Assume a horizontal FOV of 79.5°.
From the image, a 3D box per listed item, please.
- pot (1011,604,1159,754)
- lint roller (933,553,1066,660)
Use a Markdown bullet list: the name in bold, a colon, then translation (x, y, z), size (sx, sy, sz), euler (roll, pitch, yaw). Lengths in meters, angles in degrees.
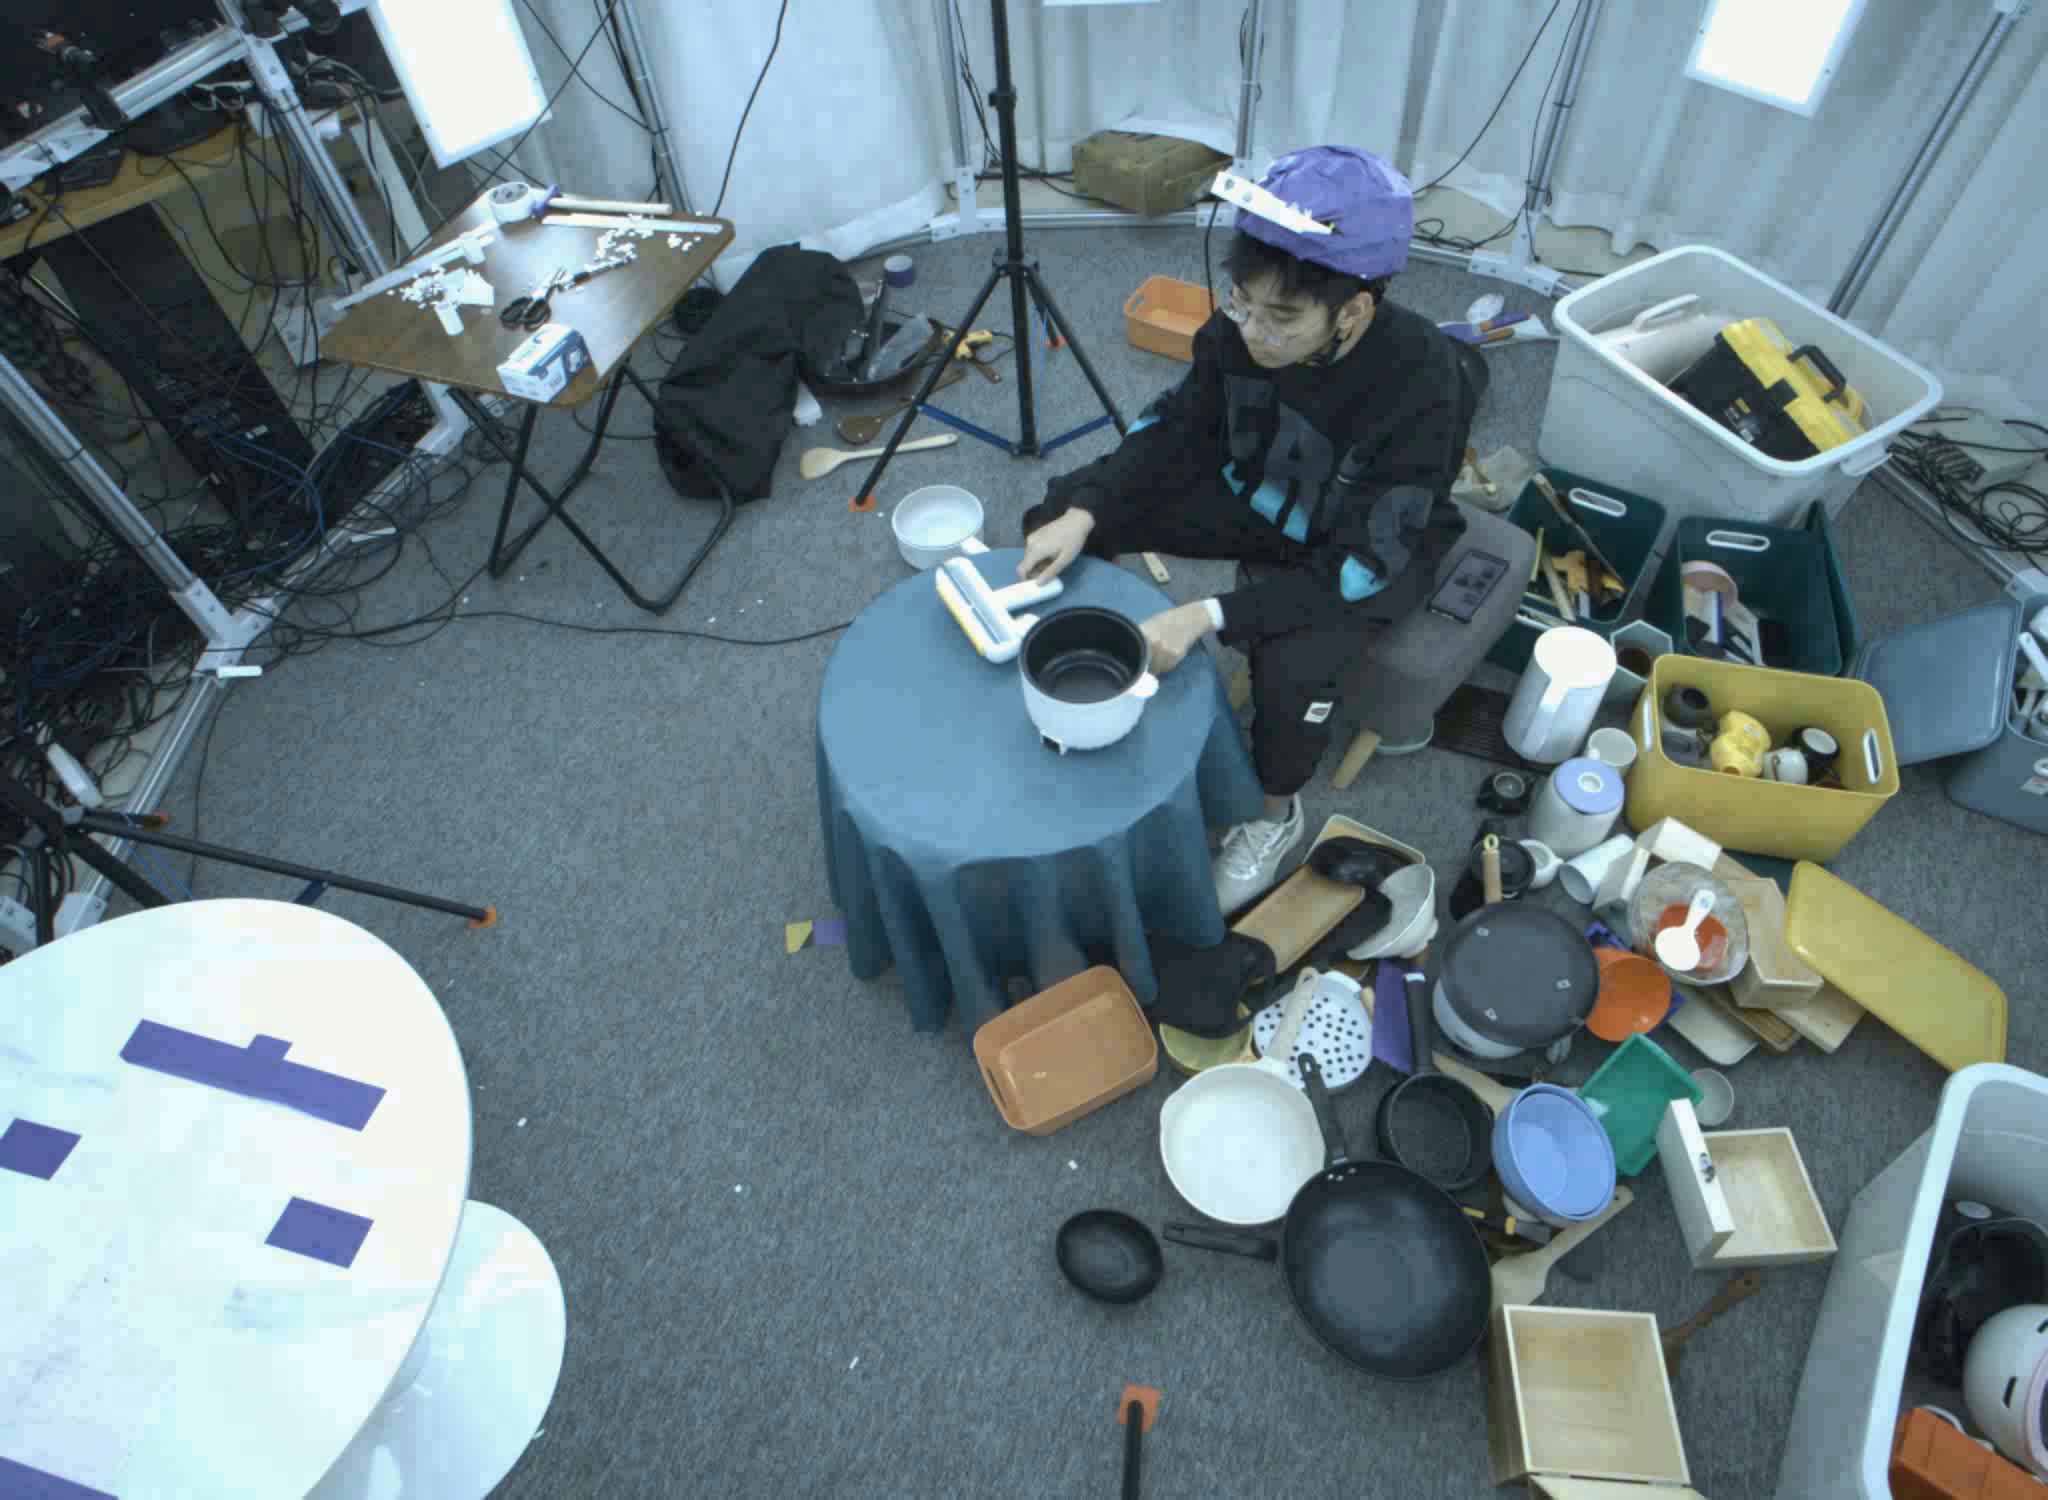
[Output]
- **pot**: translation (0.089, -0.102, 1.766), size (0.237, 0.144, 0.191), euler (29, 64, 20)
- **lint roller**: translation (-0.022, -0.240, 1.912), size (0.194, 0.075, 0.189), euler (-24, 62, -16)
